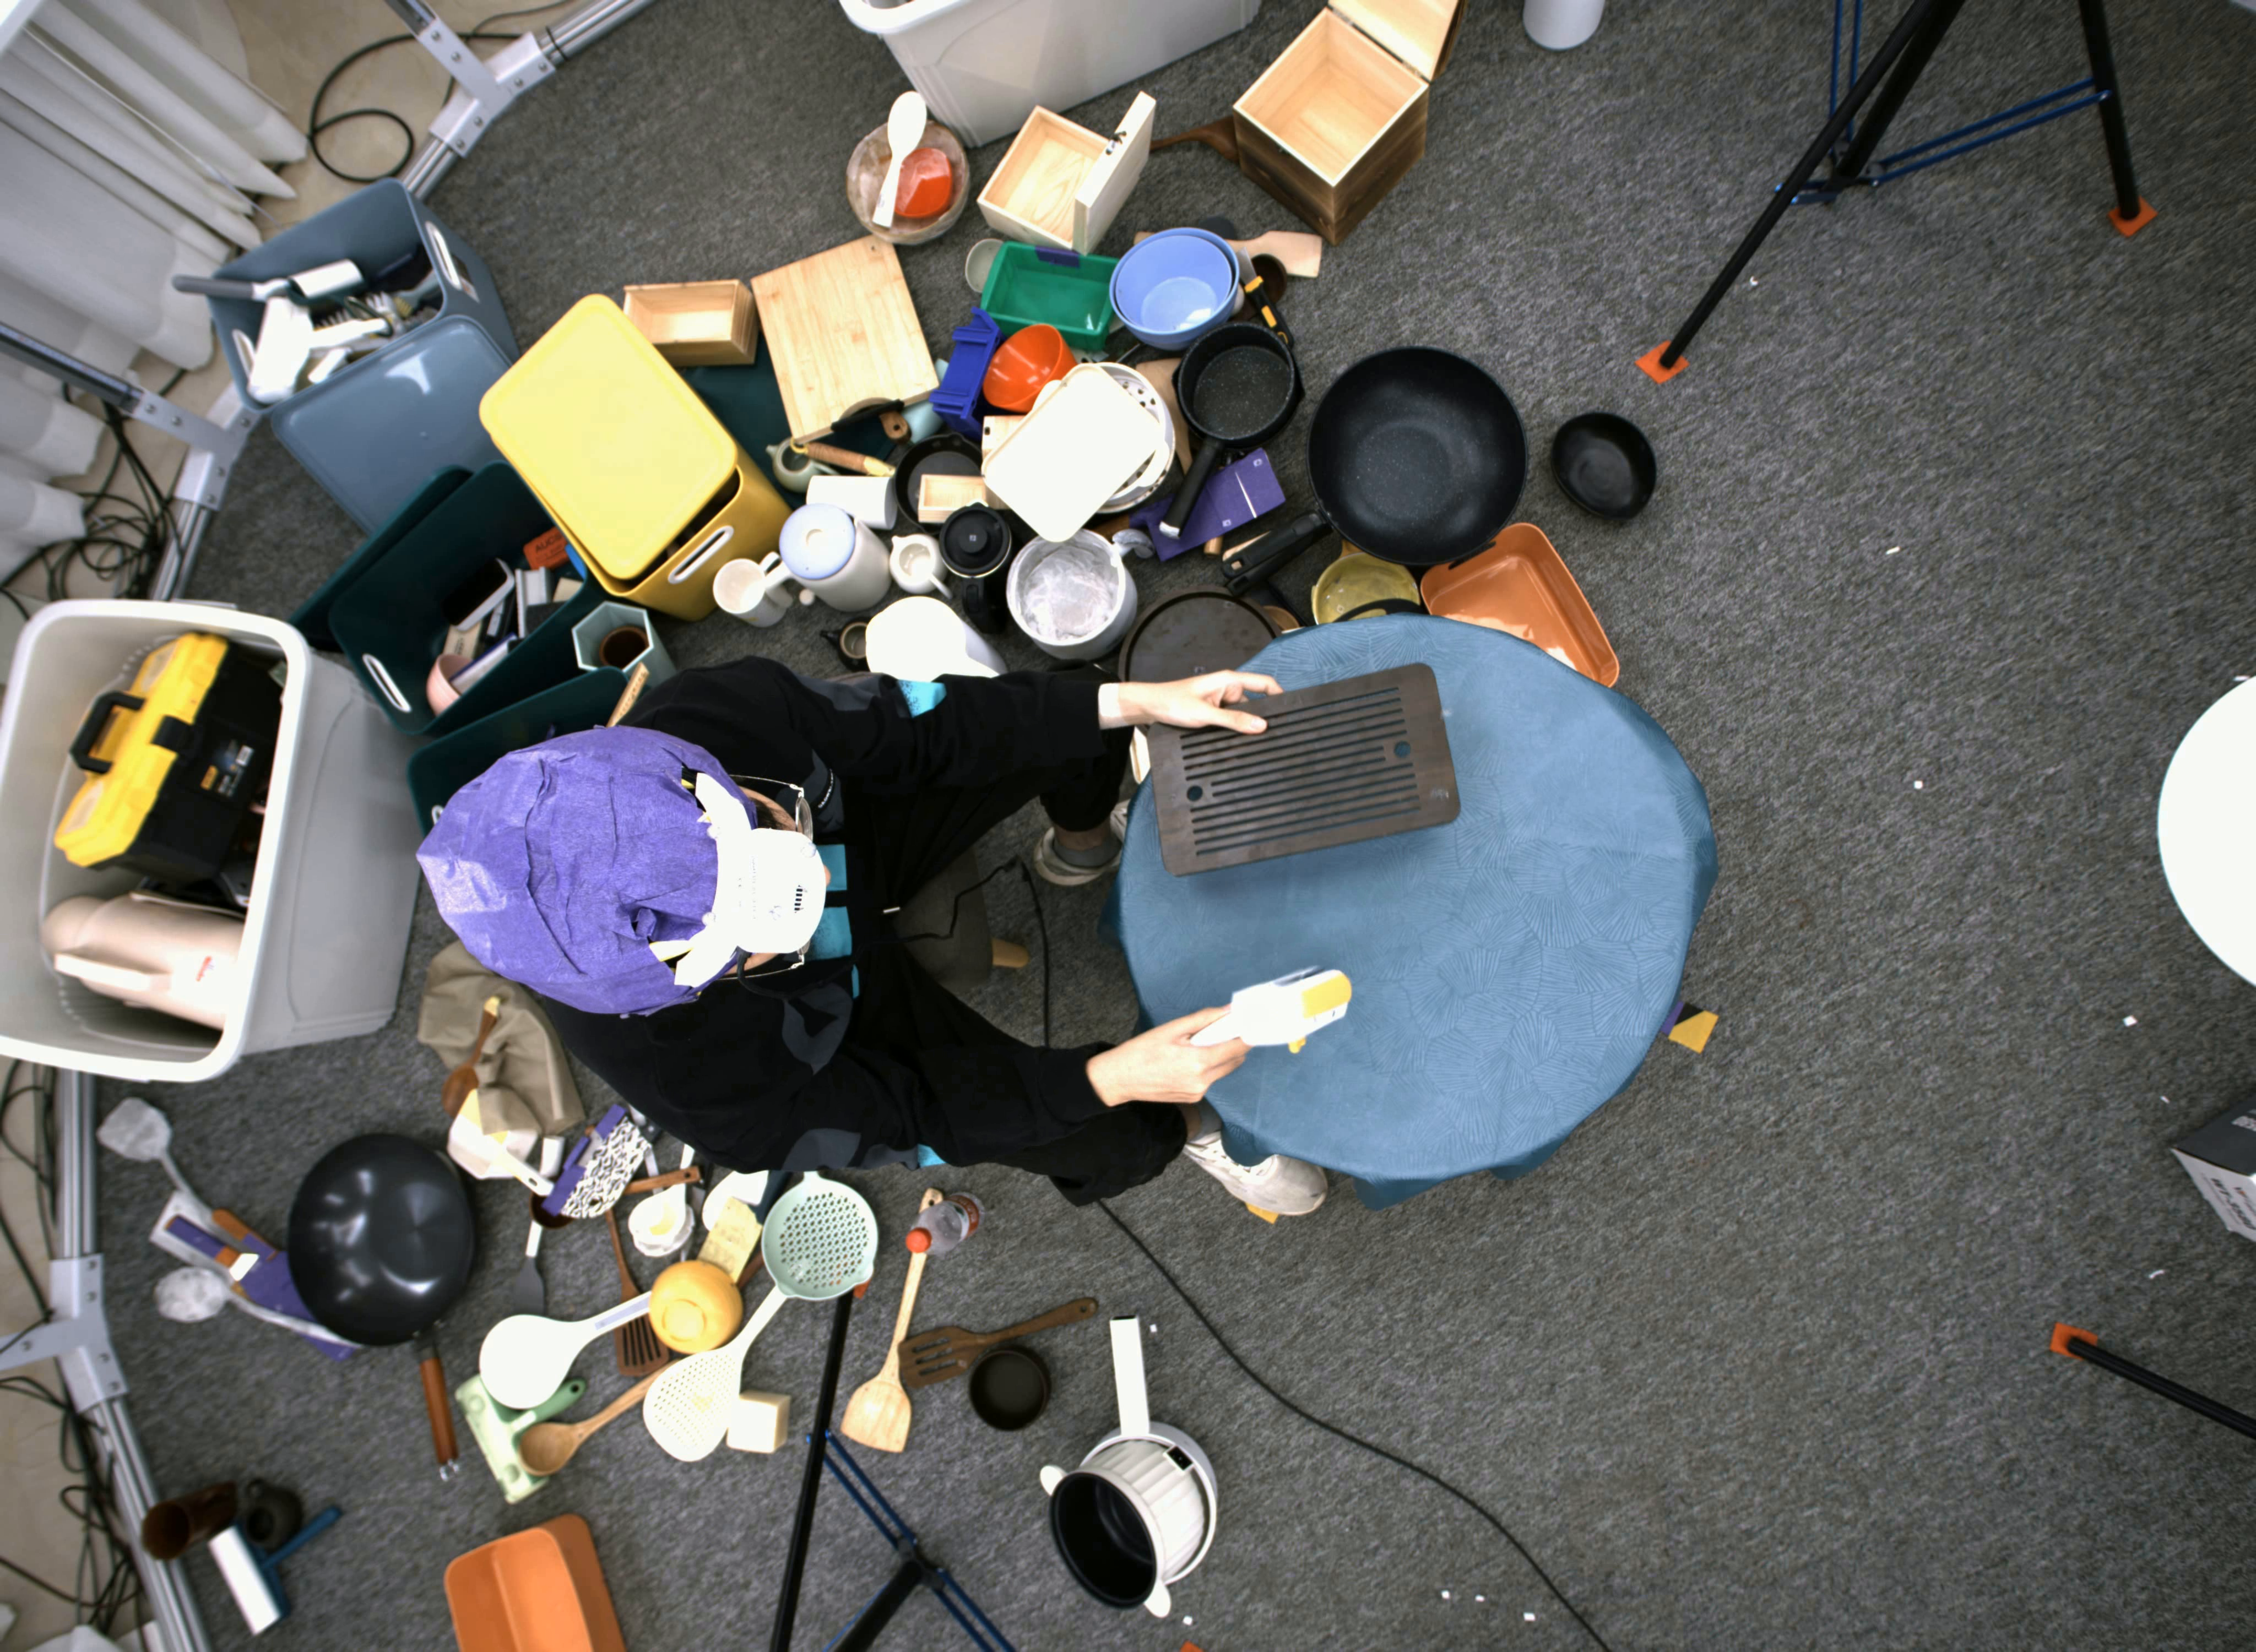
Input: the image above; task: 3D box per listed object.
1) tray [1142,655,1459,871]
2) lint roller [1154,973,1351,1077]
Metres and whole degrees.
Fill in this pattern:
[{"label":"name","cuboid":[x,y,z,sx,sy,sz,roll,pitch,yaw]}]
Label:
[{"label":"tray","cuboid":[0.169,-0.062,1.393,0.308,0.019,0.168,-12,74,16]},{"label":"lint roller","cuboid":[0.104,0.192,1.334,0.195,0.191,0.074,-20,82,29]}]
